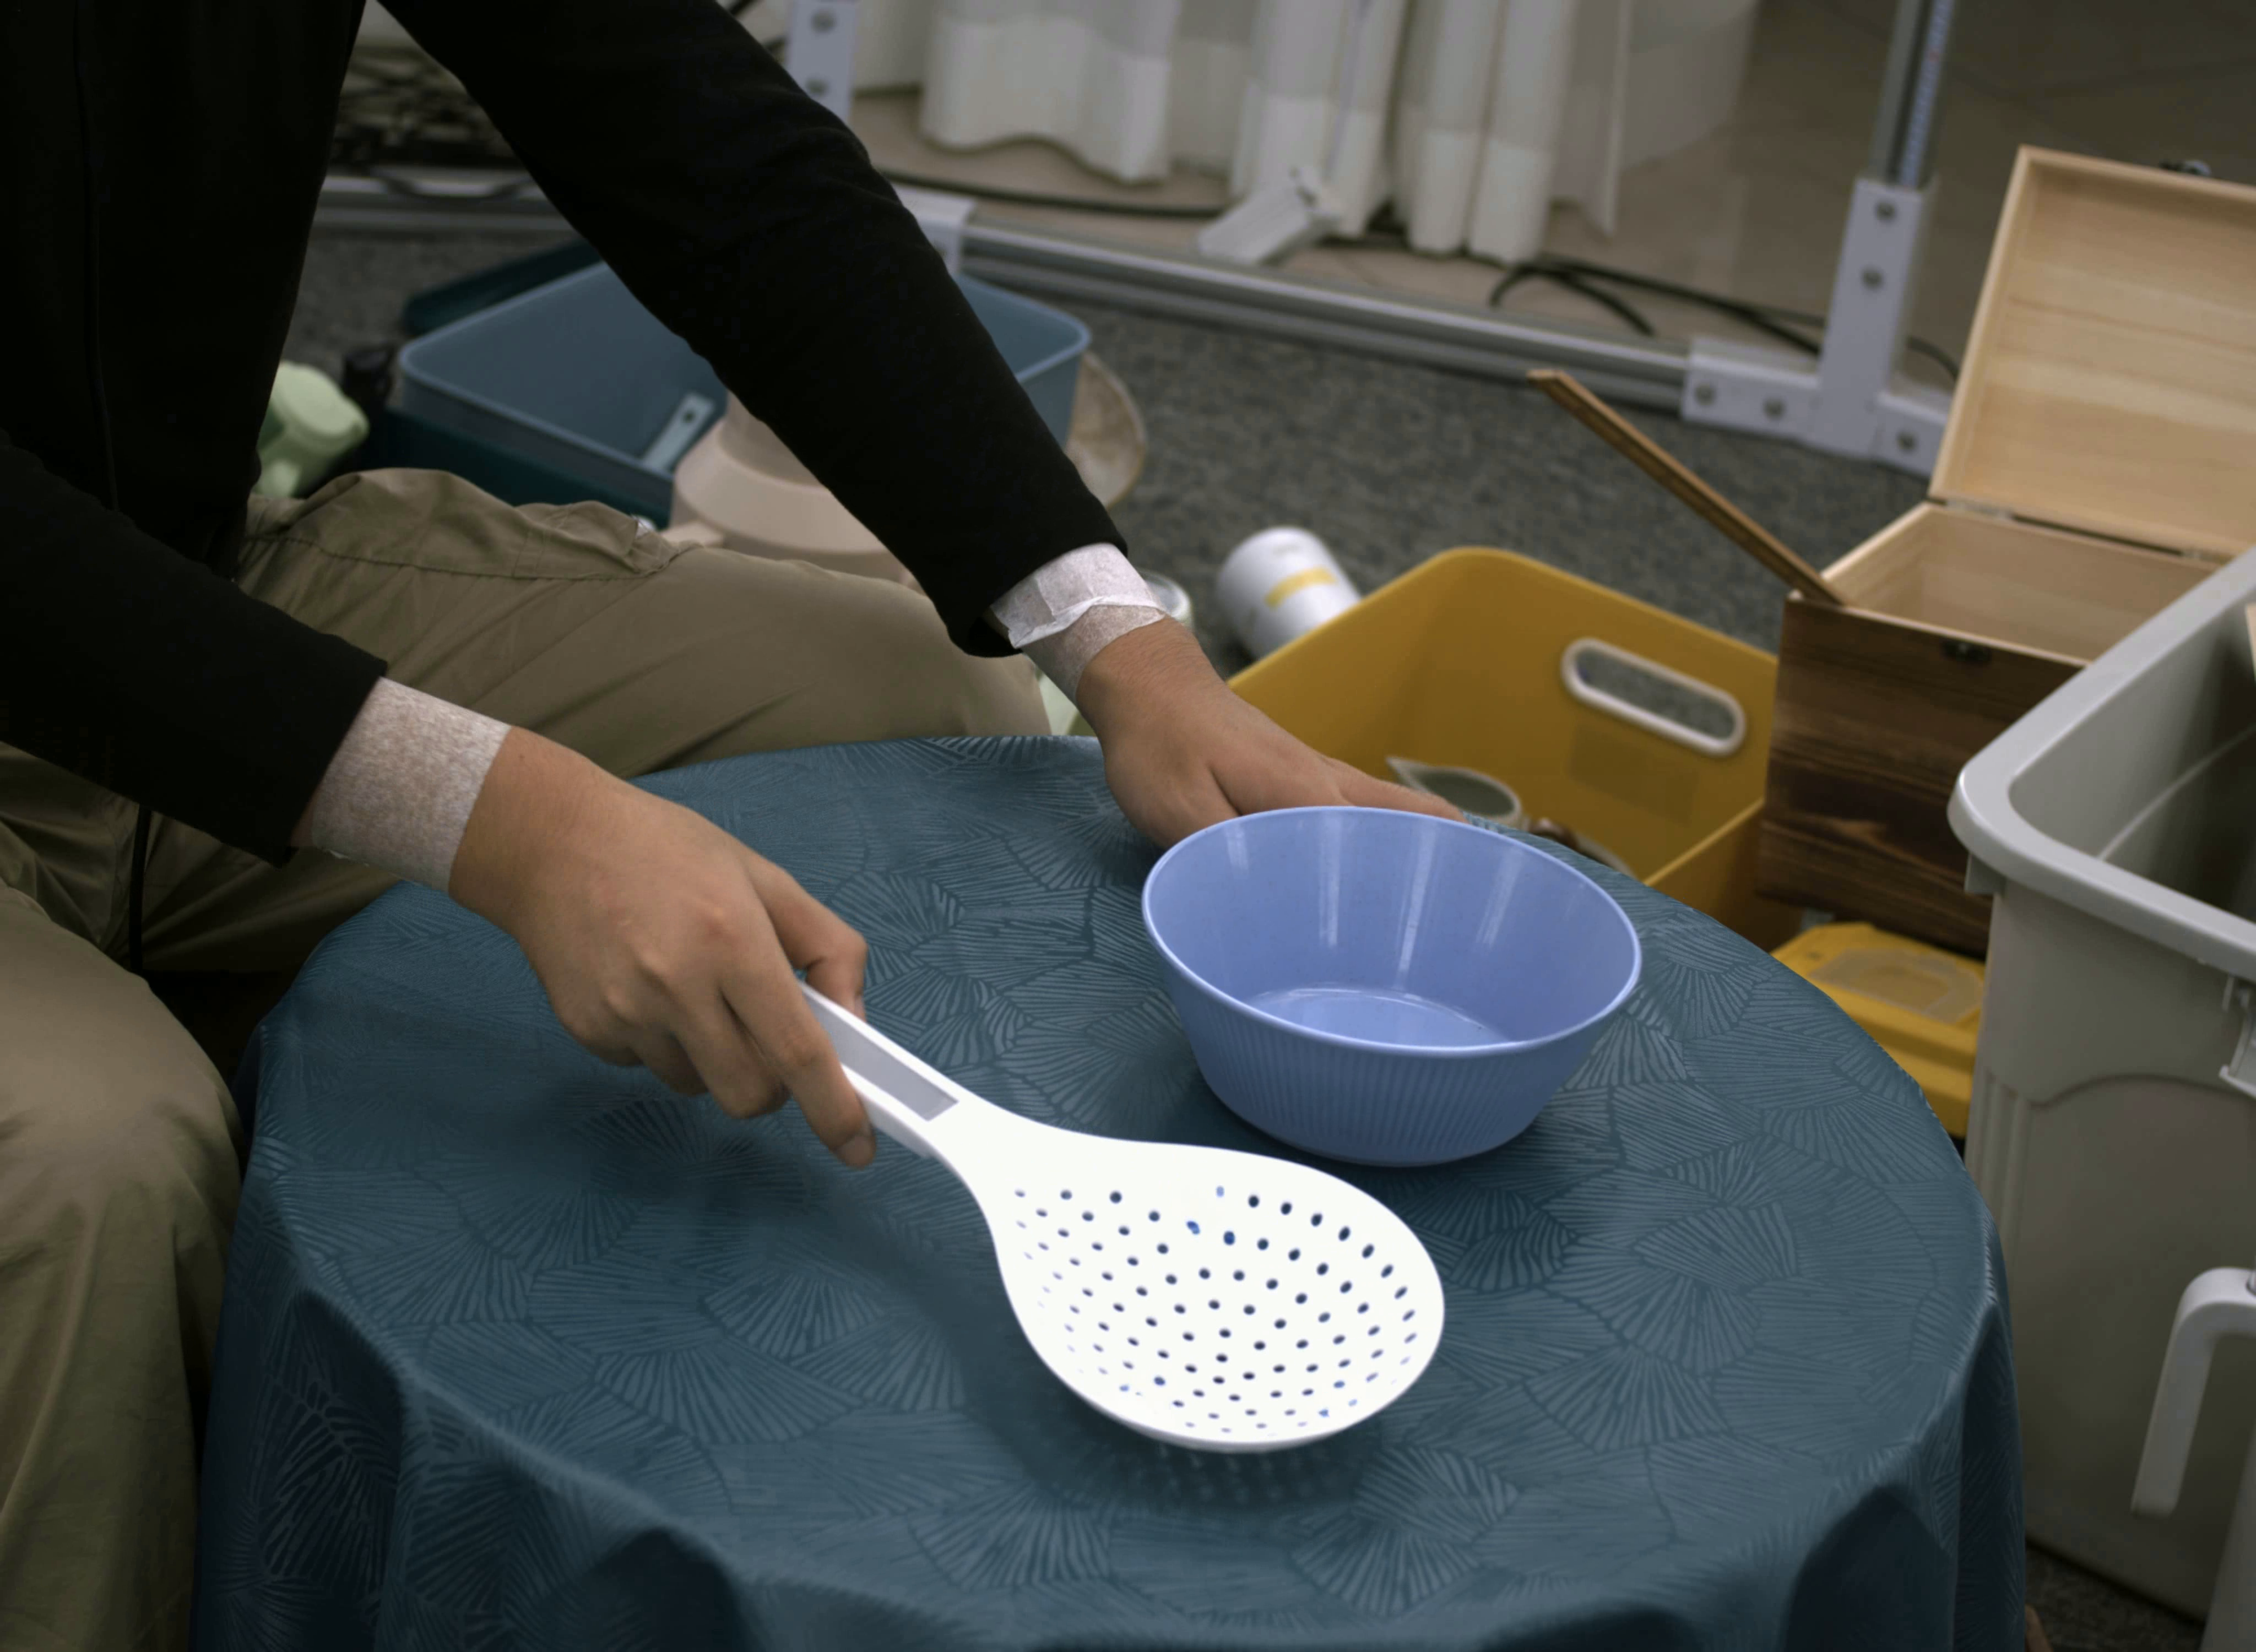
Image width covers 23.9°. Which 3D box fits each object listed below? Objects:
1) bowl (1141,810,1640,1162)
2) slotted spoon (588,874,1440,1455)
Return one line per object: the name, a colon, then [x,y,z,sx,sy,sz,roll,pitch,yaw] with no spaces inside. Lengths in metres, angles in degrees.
bowl: [0.088,0.061,1.866,0.175,0.070,0.177,5,26,-3]
slotted spoon: [-0.049,0.104,1.734,0.352,0.045,0.136,35,47,28]
